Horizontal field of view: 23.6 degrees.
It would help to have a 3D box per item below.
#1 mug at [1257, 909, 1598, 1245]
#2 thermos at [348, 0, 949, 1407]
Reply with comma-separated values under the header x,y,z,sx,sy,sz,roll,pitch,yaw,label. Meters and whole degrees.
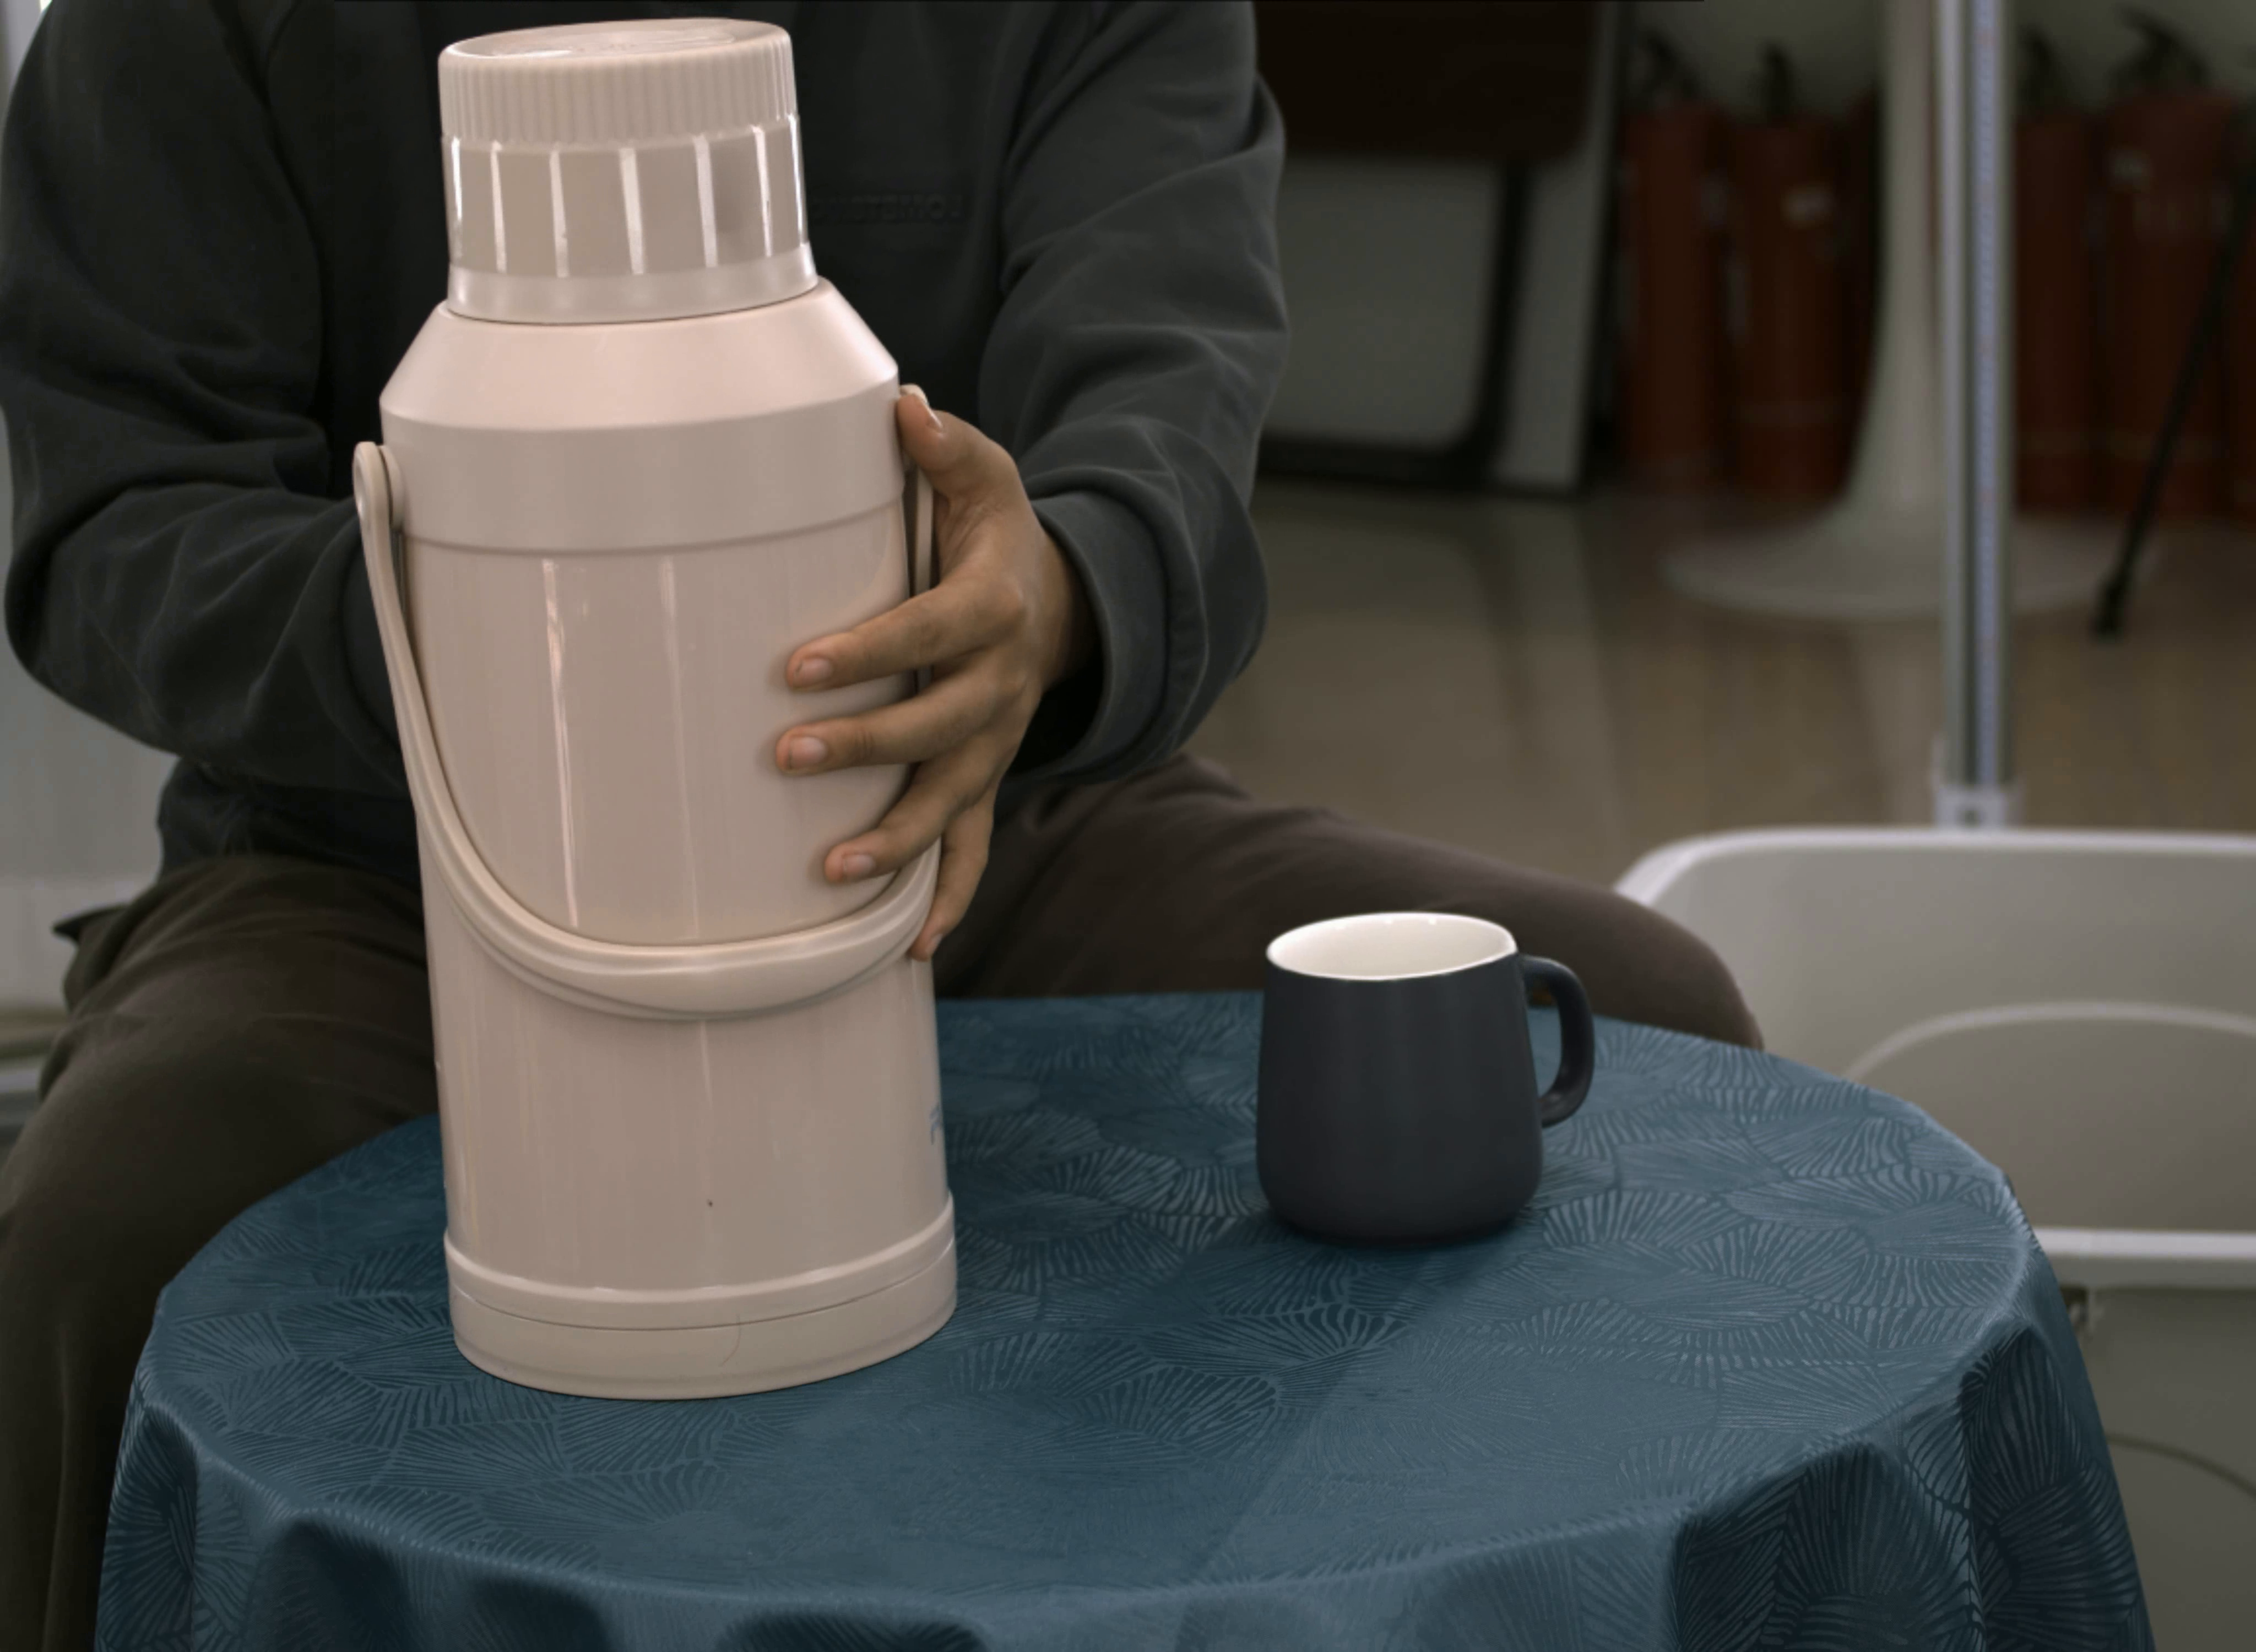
x,y,z,sx,sy,sz,roll,pitch,yaw,label
0.099,0.077,1.731,0.120,0.091,0.094,-11,16,-28,mug
-0.145,-0.043,1.646,0.172,0.411,0.209,-8,14,-18,thermos
